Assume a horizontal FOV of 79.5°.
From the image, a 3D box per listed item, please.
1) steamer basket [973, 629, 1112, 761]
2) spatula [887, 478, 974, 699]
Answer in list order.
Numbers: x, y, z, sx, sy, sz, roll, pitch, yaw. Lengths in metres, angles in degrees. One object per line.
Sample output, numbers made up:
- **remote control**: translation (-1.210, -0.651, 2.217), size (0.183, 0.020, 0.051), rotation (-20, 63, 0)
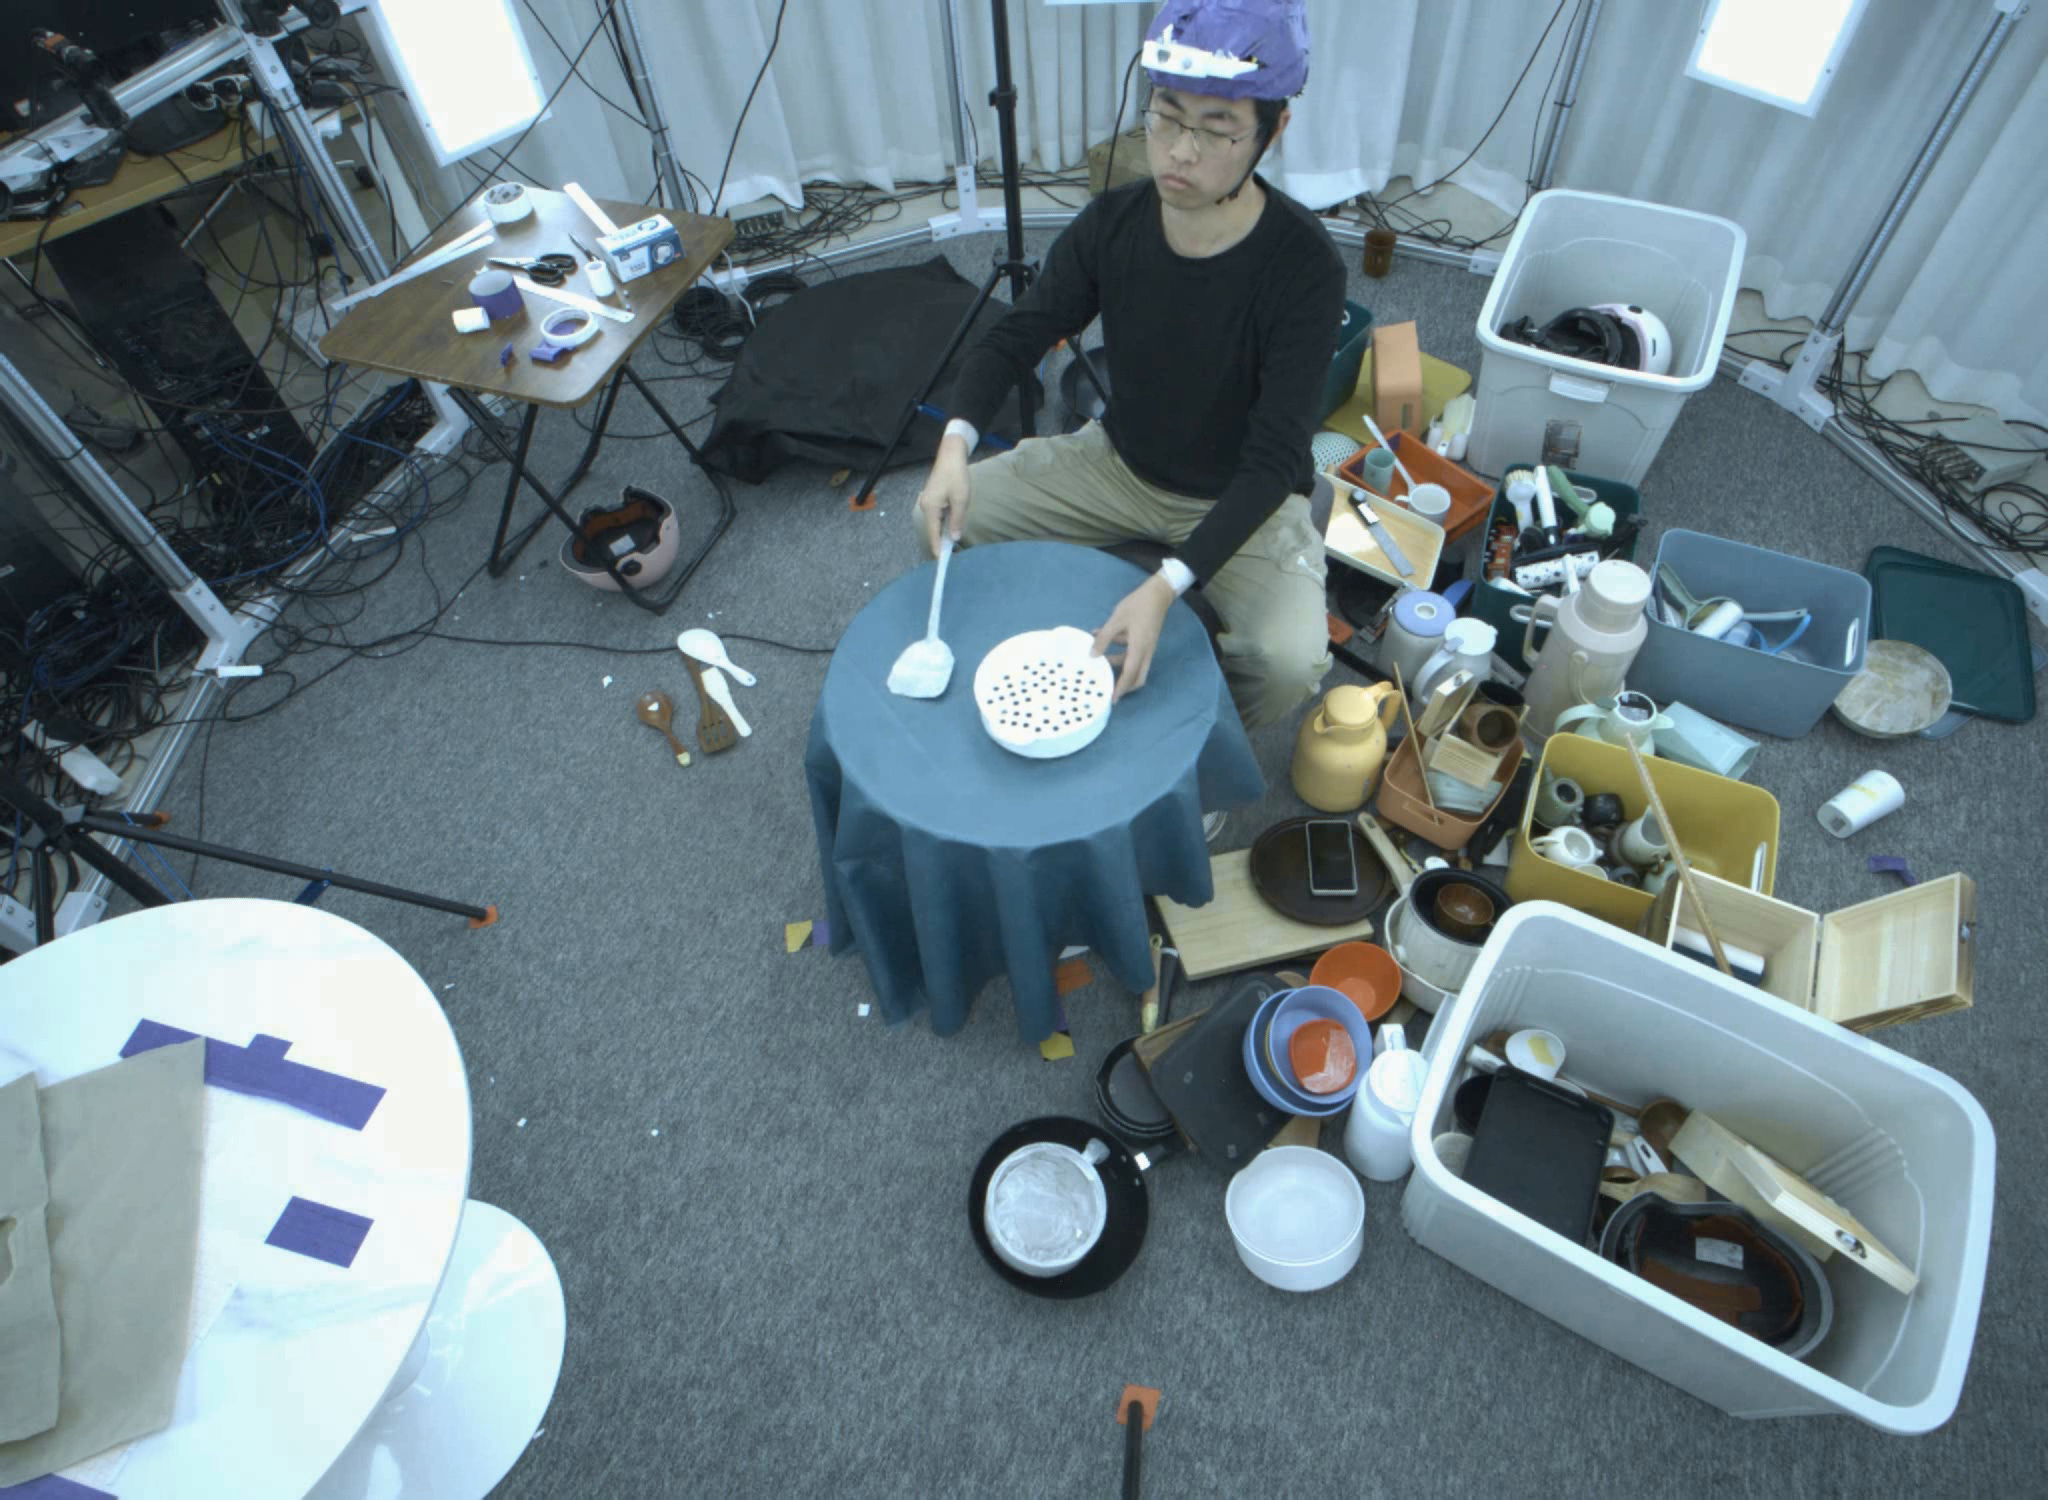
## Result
- **steamer basket**: translation (0.028, -0.077, 1.798), size (0.199, 0.070, 0.231), rotation (23, 58, 16)
- **spatula**: translation (-0.129, -0.253, 1.877), size (0.097, 0.045, 0.364), rotation (8, 85, 19)
